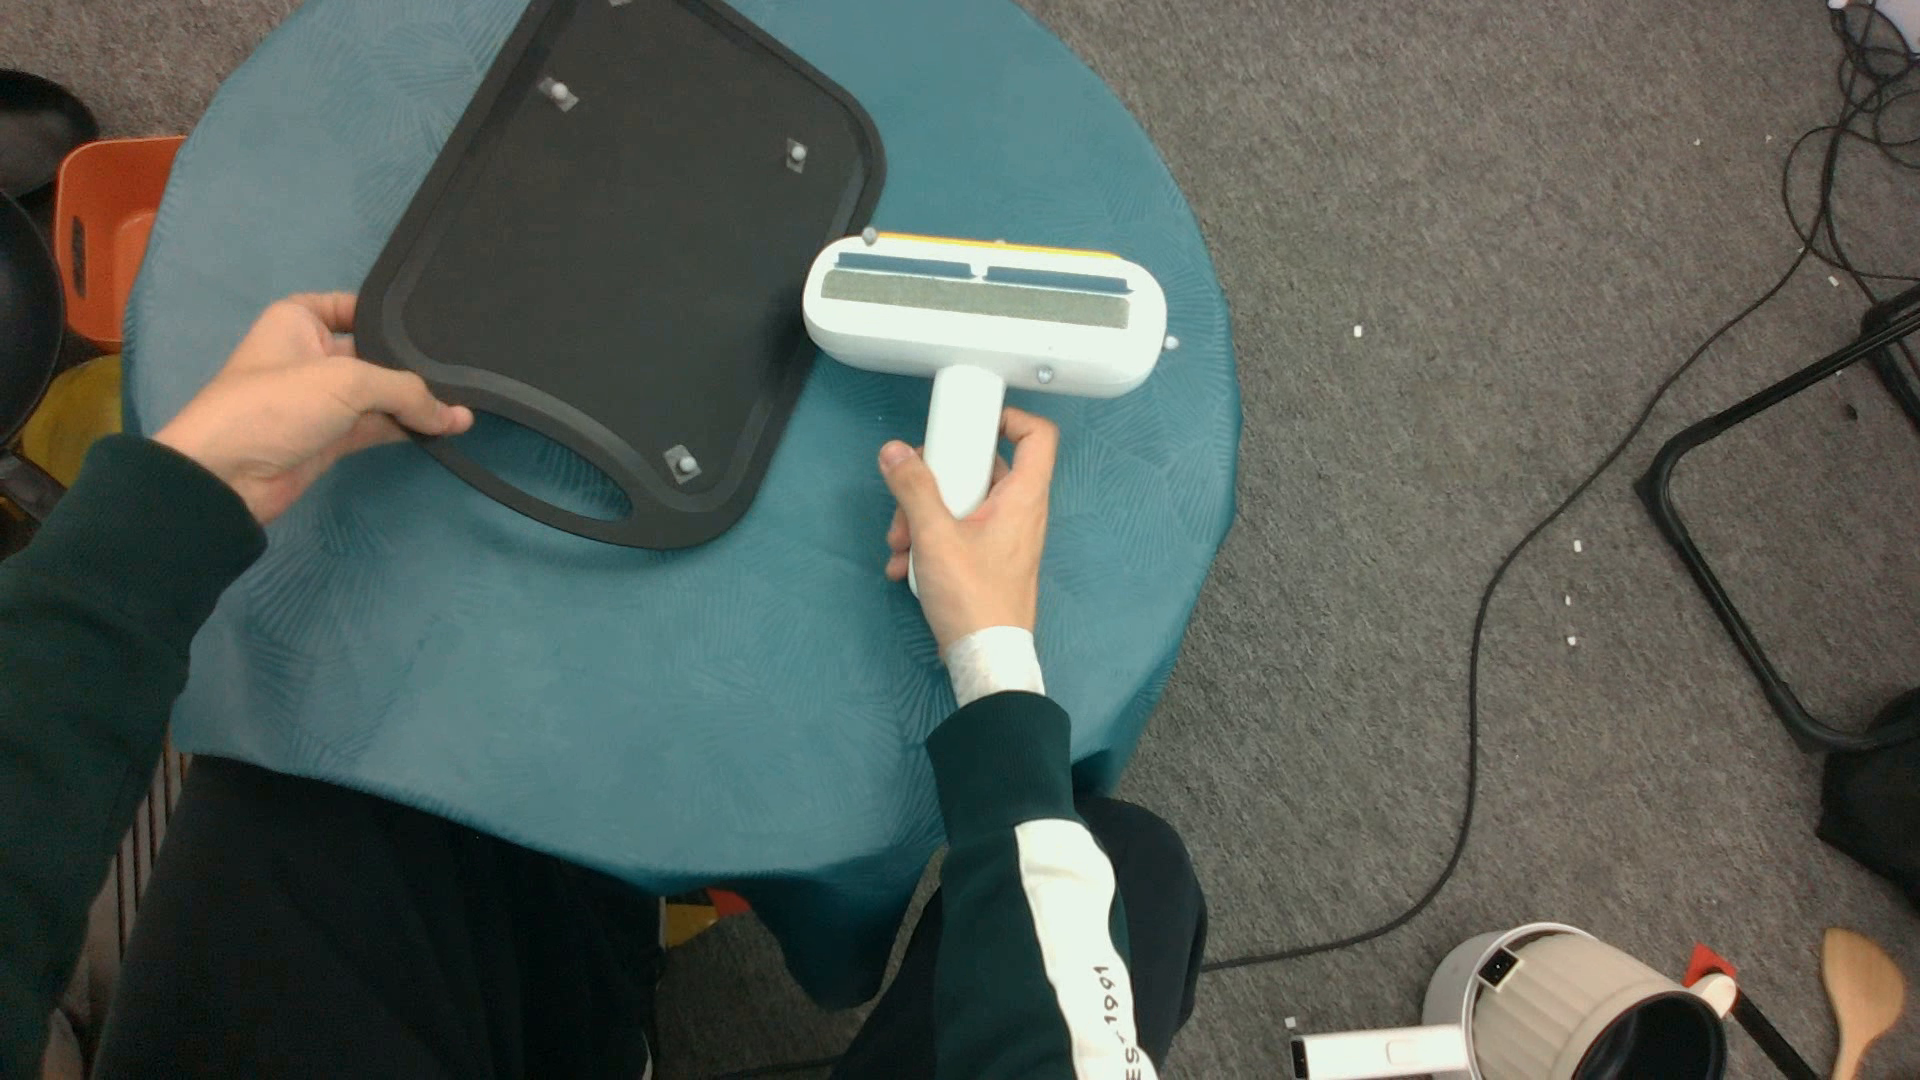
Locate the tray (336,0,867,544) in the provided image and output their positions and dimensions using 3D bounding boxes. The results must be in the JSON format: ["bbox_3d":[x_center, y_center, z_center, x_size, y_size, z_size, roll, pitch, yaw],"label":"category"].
[{"bbox_3d":[-0.172,-0.158,0.720,0.211,0.010,0.326,30,63,-24],"label":"tray"}]

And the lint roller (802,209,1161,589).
[{"bbox_3d":[-0.003,-0.067,0.730,0.193,0.074,0.192,15,93,12],"label":"lint roller"}]
